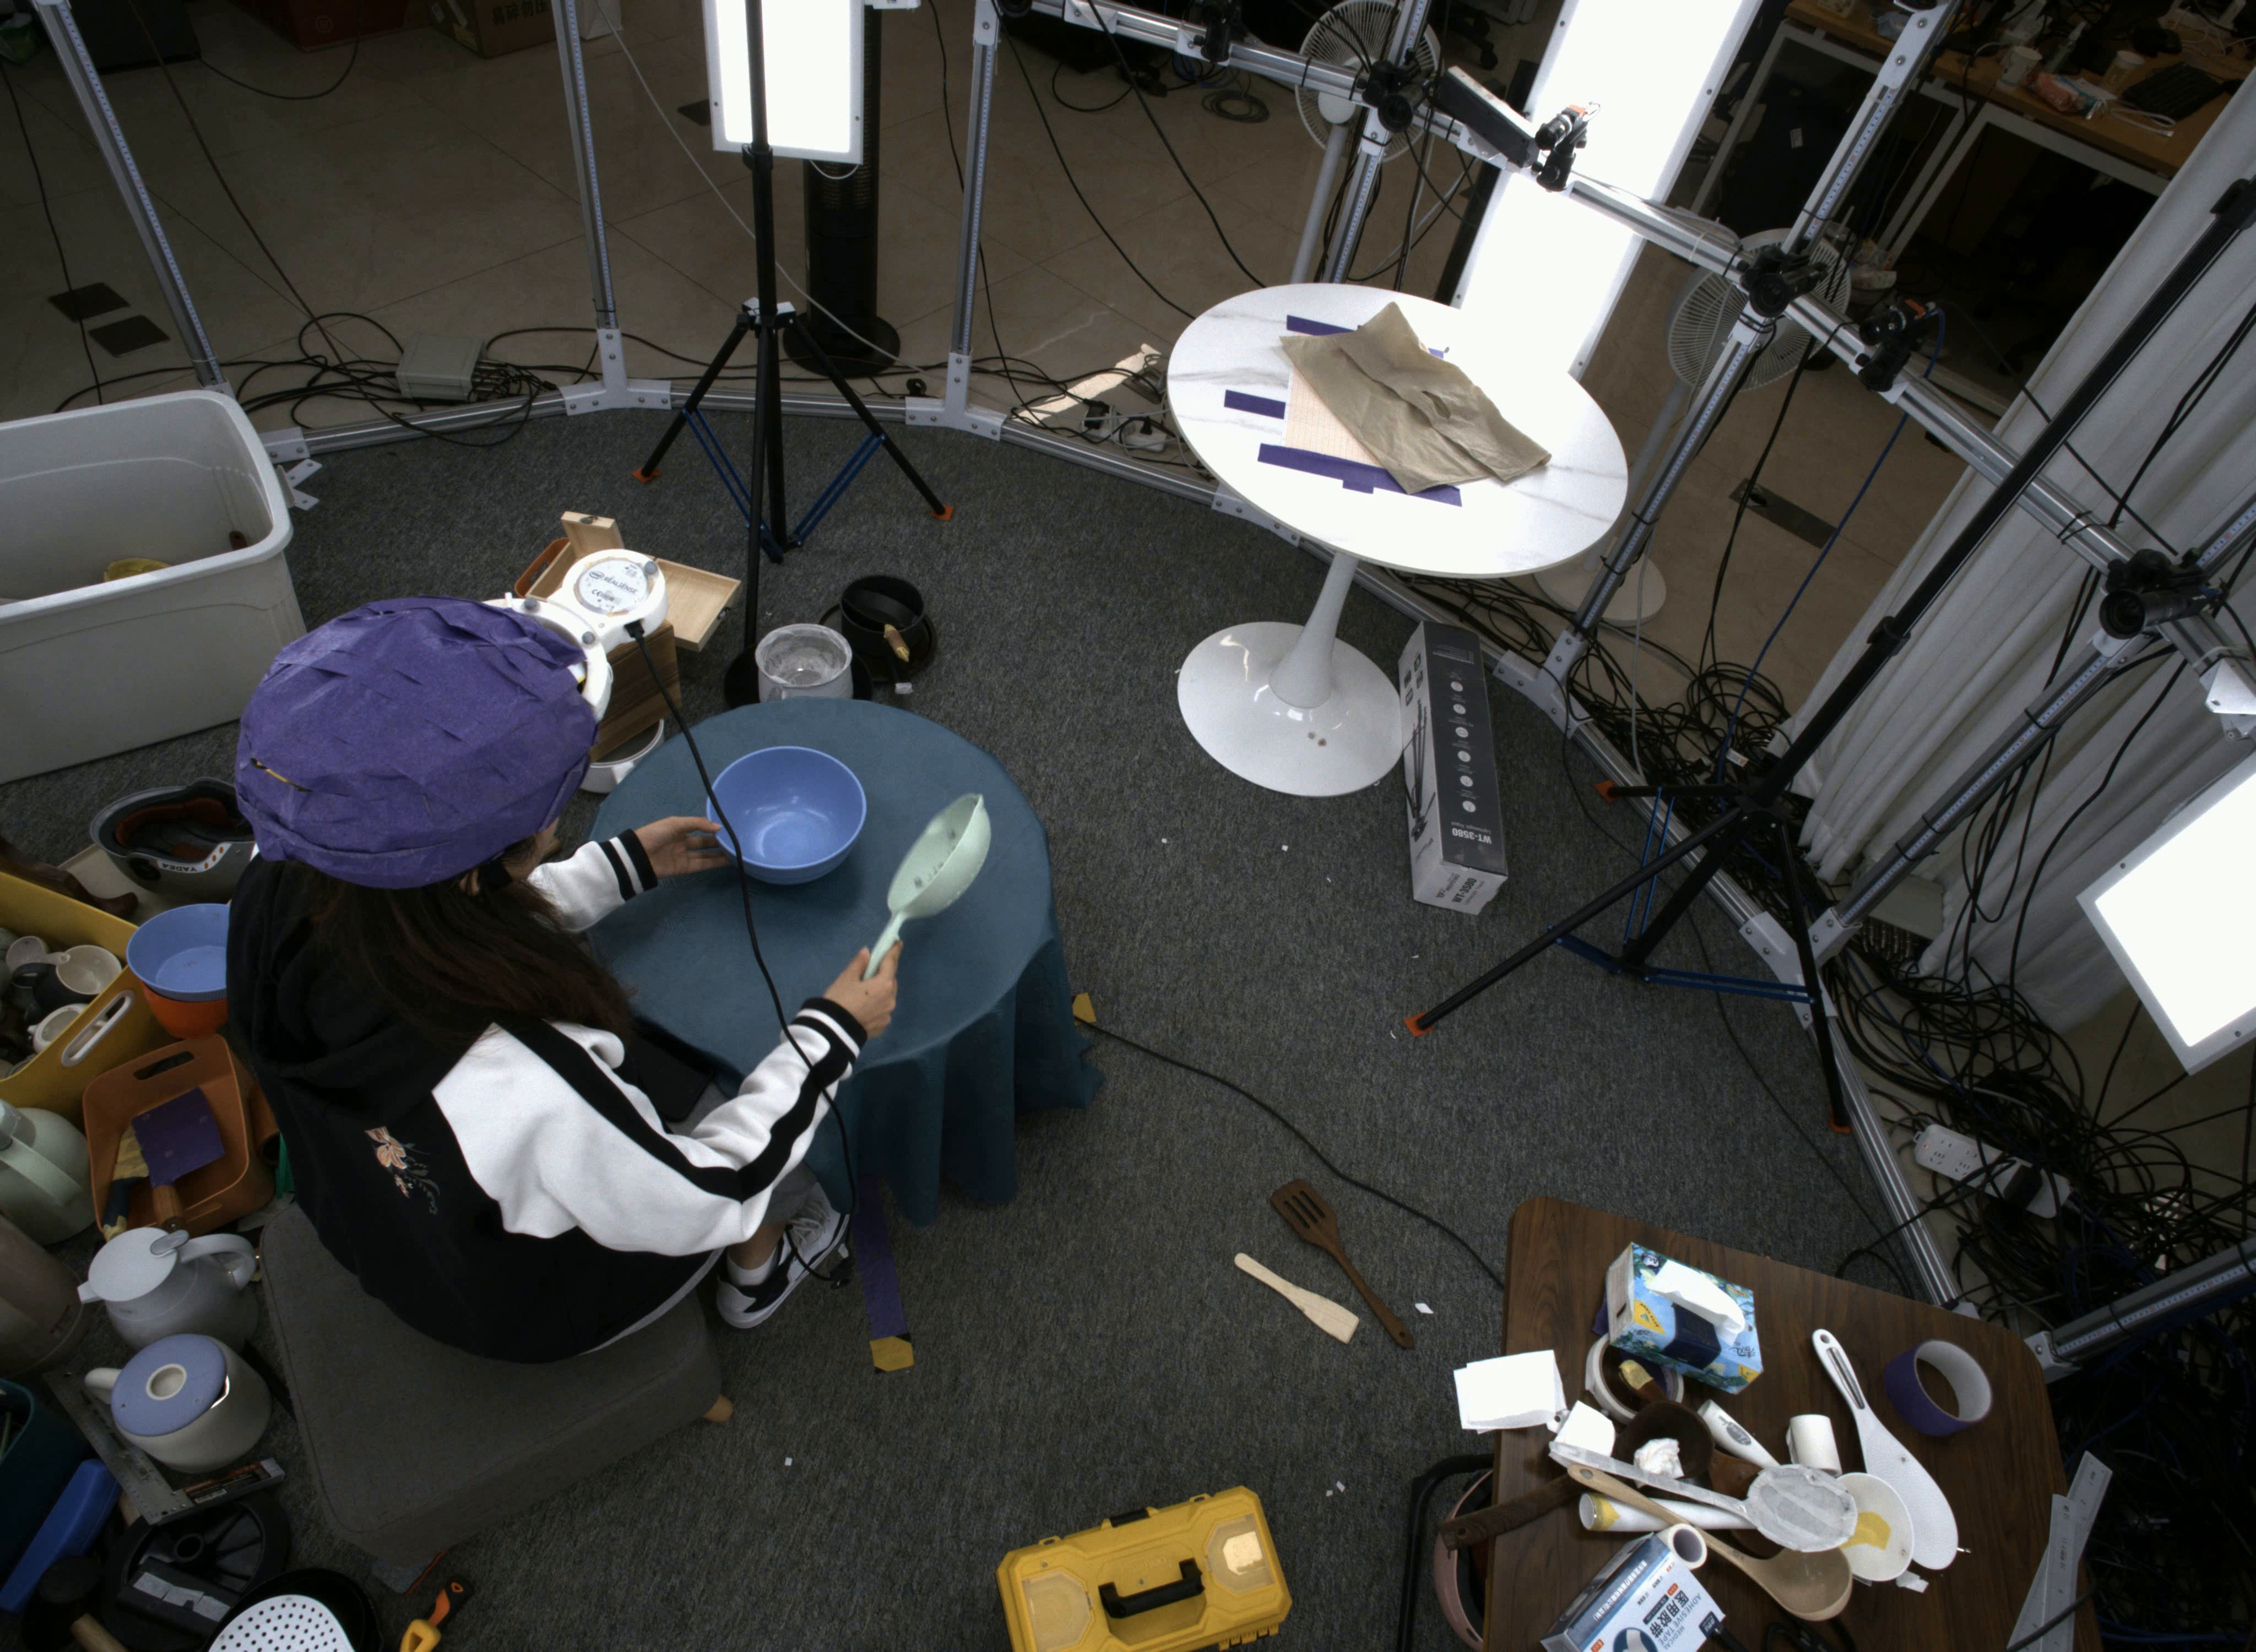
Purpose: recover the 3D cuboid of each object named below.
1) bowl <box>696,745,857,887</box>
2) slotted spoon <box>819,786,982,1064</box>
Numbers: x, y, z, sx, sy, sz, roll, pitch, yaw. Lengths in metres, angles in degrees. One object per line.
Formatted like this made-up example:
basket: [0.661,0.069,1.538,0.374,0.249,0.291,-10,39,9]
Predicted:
bowl: [-0.445,0.002,1.651,0.196,0.097,0.193,8,52,-9]
slotted spoon: [-0.274,0.106,1.508,0.077,0.166,0.357,45,58,-18]
